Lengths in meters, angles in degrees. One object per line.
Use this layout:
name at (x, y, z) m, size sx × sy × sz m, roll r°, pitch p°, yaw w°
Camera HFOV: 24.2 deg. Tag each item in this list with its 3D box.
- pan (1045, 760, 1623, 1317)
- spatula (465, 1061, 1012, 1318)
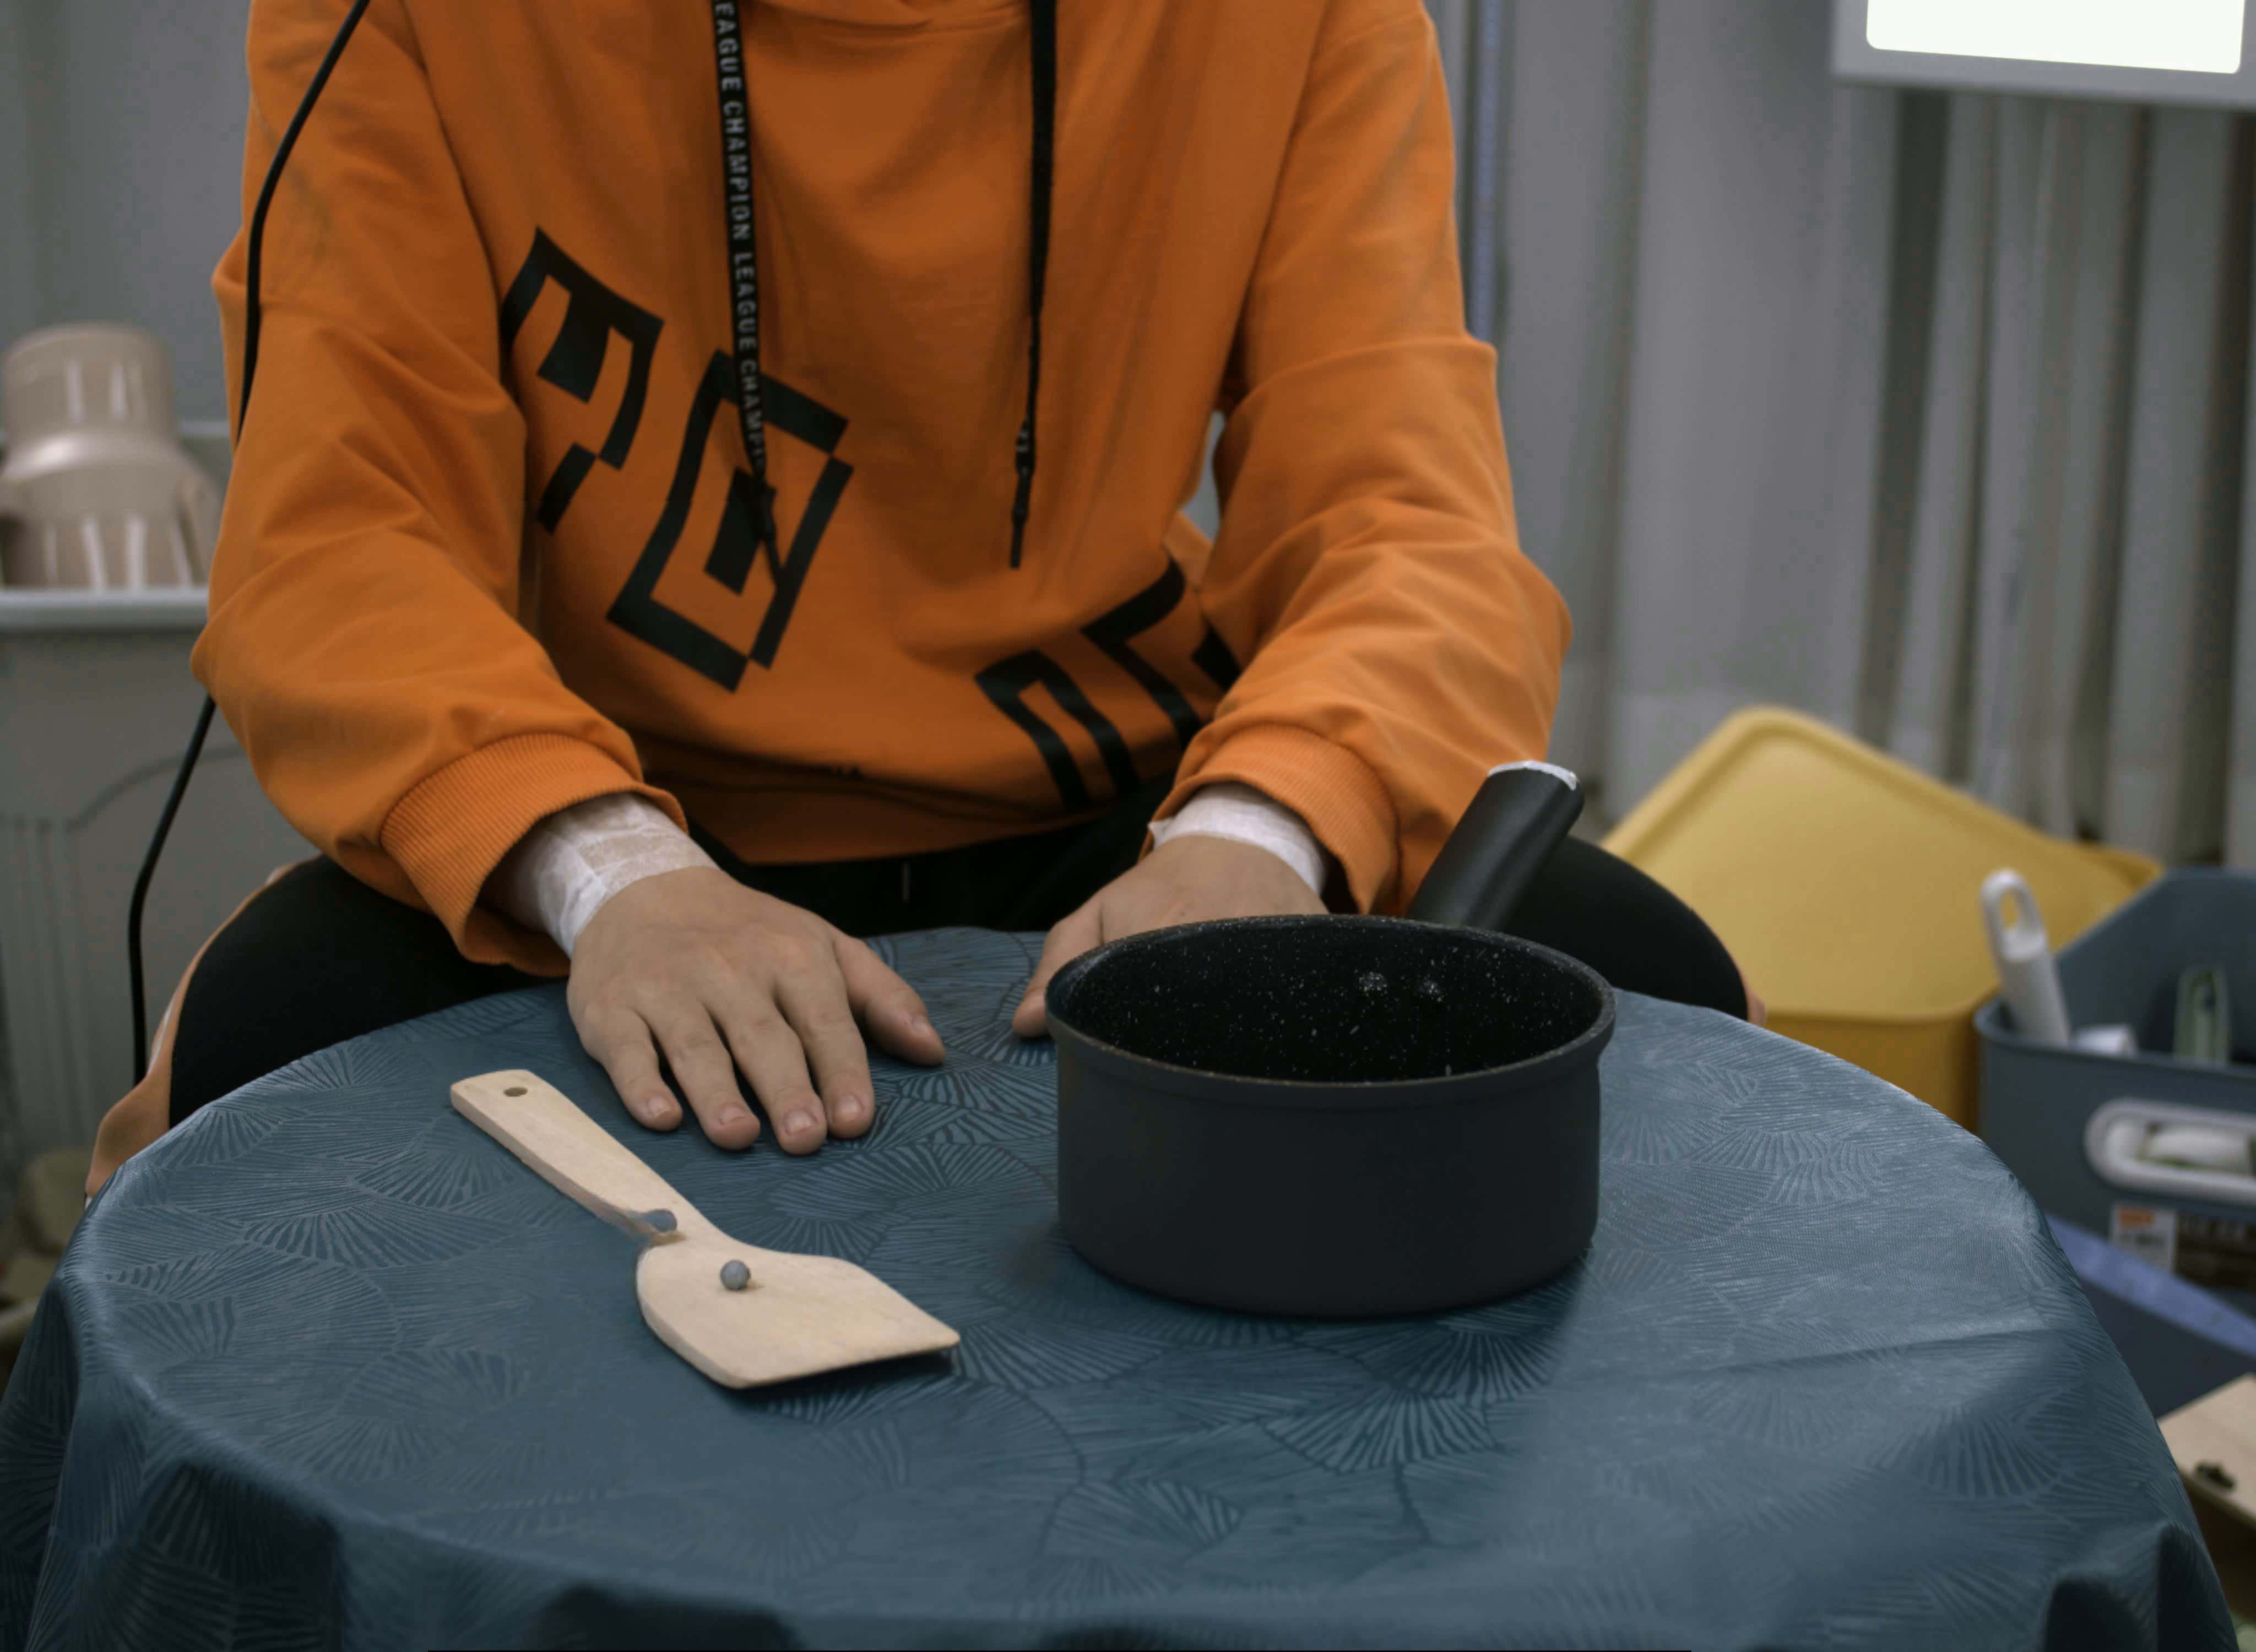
pan at (0.089, 0.062, 1.648) m, size 0.170 × 0.087 × 0.329 m, roll 7°, pitch 19°, yaw 20°
spatula at (-0.133, 0.108, 1.582) m, size 0.073 × 0.011 × 0.289 m, roll 1°, pitch 11°, yaw -31°
